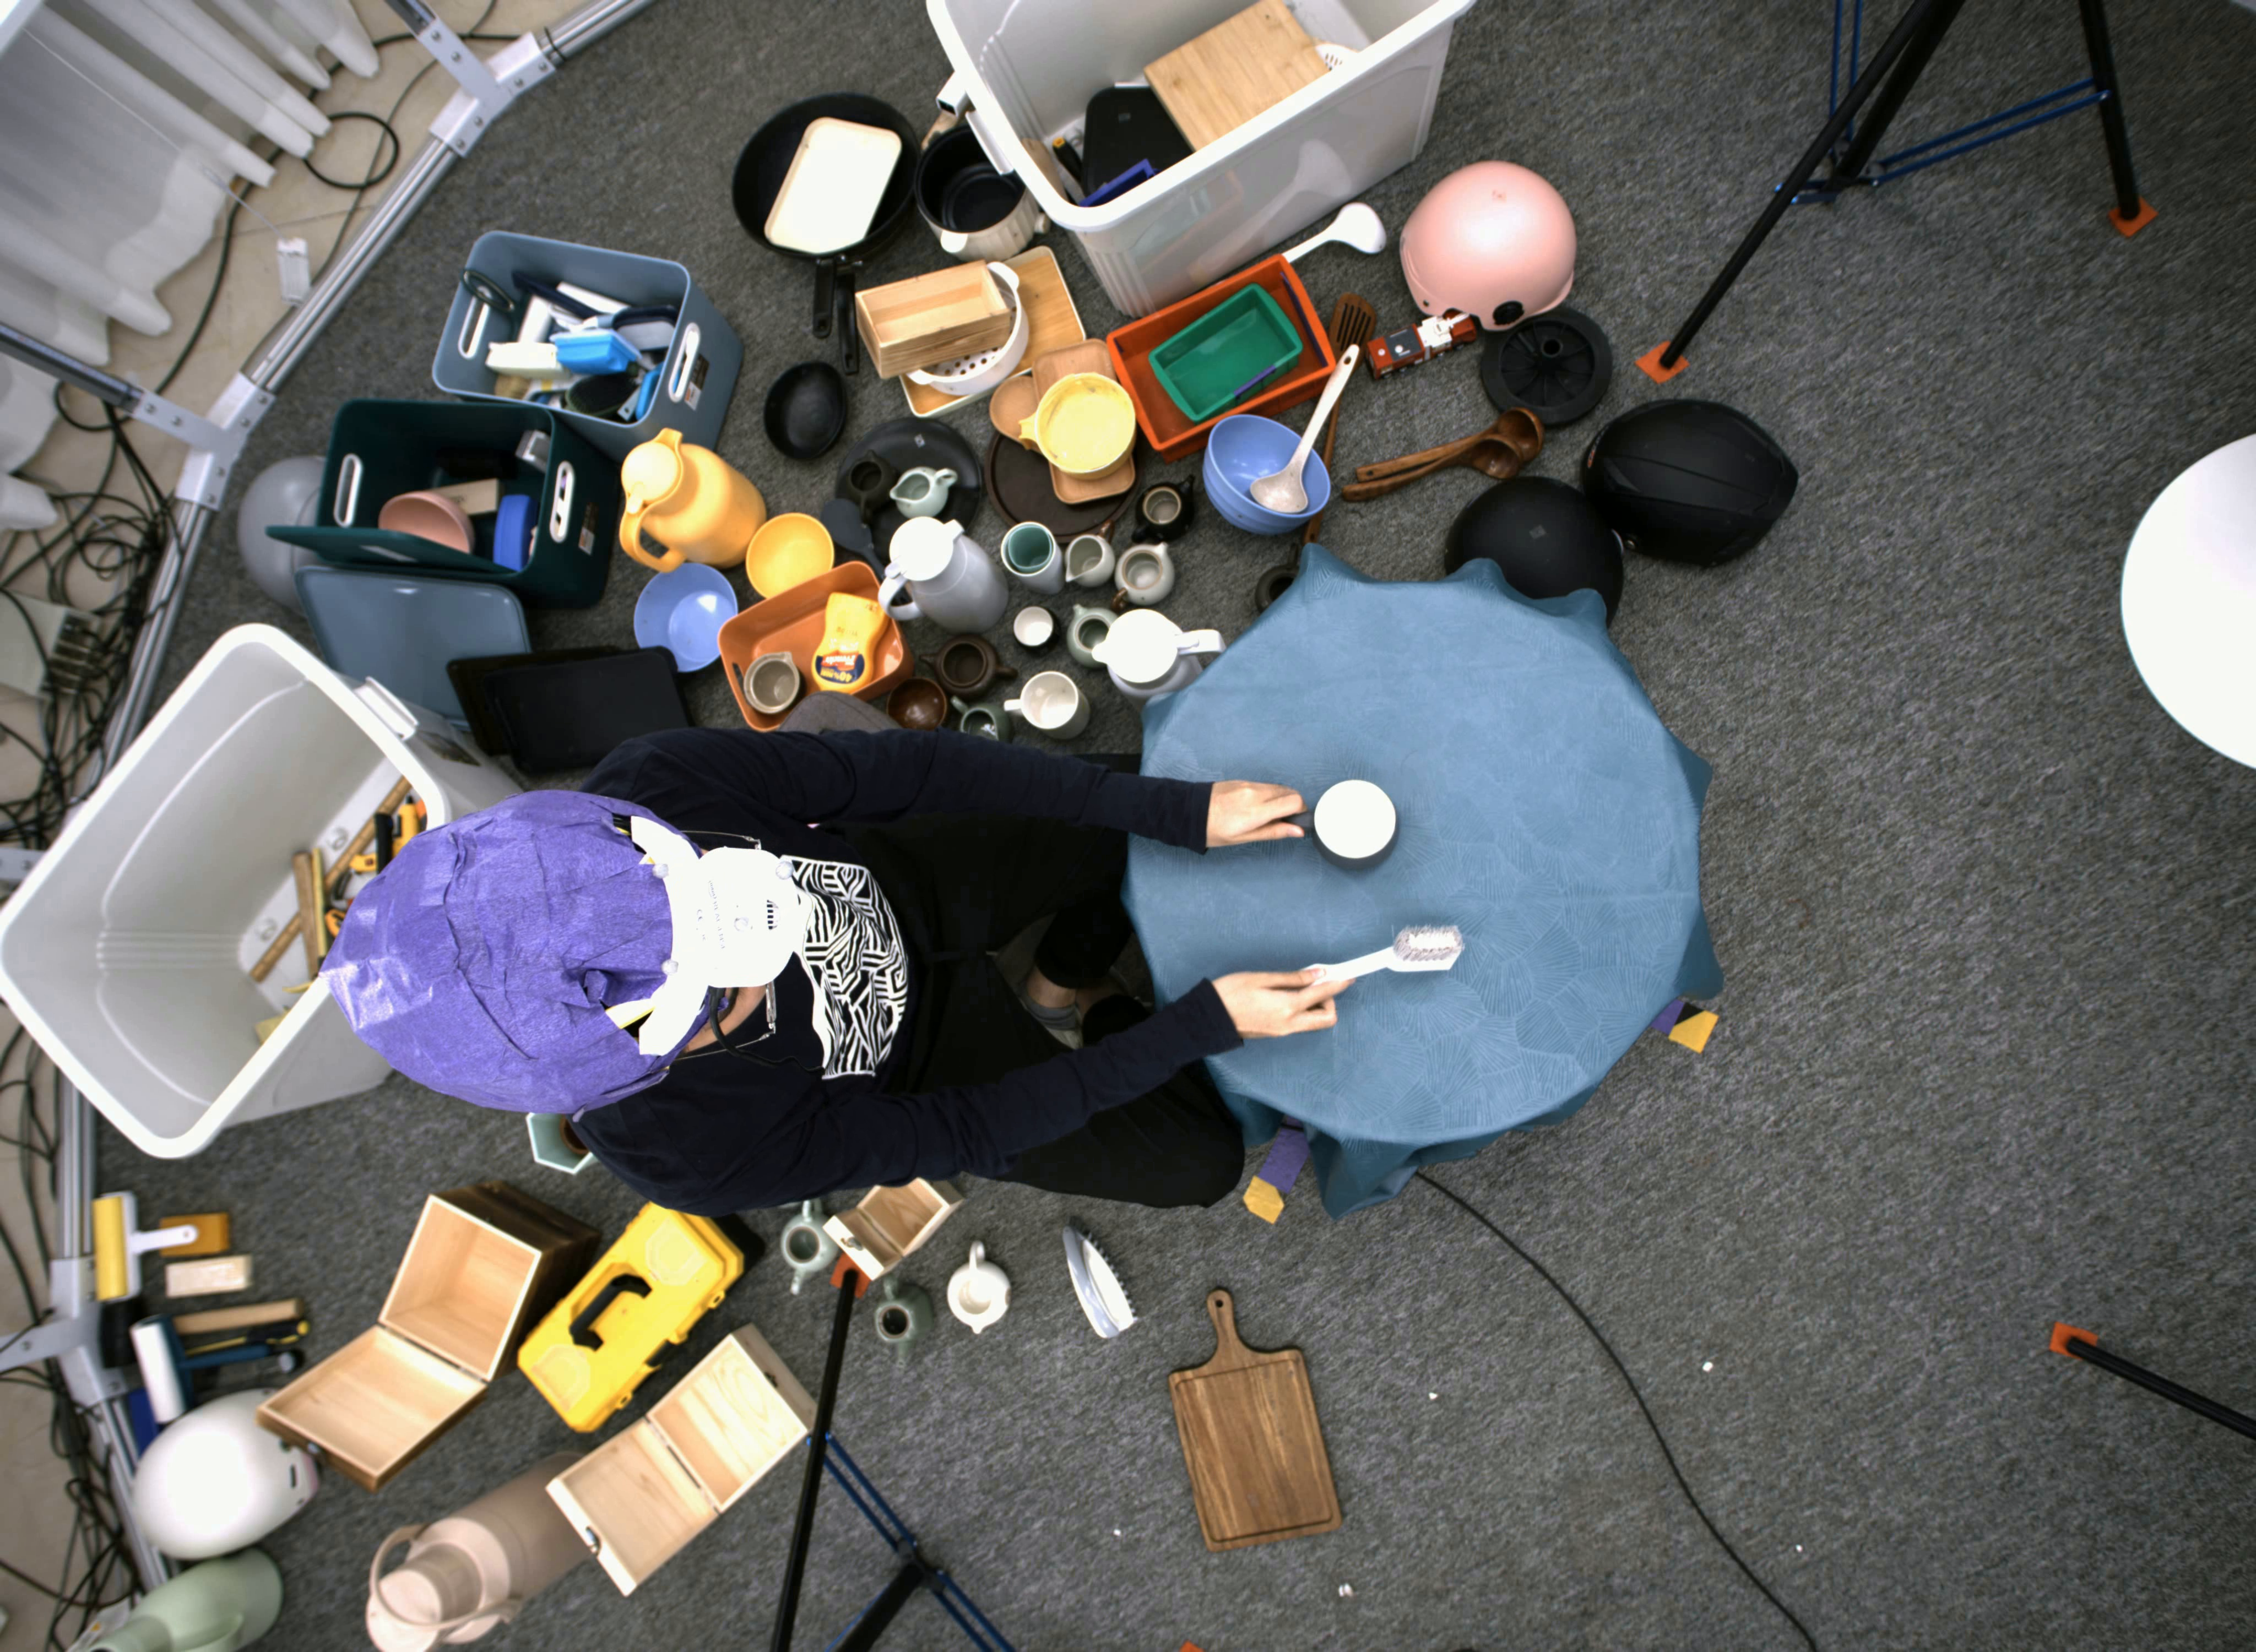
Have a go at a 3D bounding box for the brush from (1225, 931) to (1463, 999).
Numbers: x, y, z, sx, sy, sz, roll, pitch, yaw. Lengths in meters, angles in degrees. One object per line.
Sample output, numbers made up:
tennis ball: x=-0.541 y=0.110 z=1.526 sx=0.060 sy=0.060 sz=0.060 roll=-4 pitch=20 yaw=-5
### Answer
brush: x=0.216 y=0.140 z=1.403 sx=0.244 sy=0.051 sz=0.033 roll=-9 pitch=57 yaw=6

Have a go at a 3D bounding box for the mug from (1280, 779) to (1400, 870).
mug: x=0.219 y=-0.005 z=1.424 sx=0.123 sy=0.090 sz=0.093 roll=3 pitch=84 yaw=9
